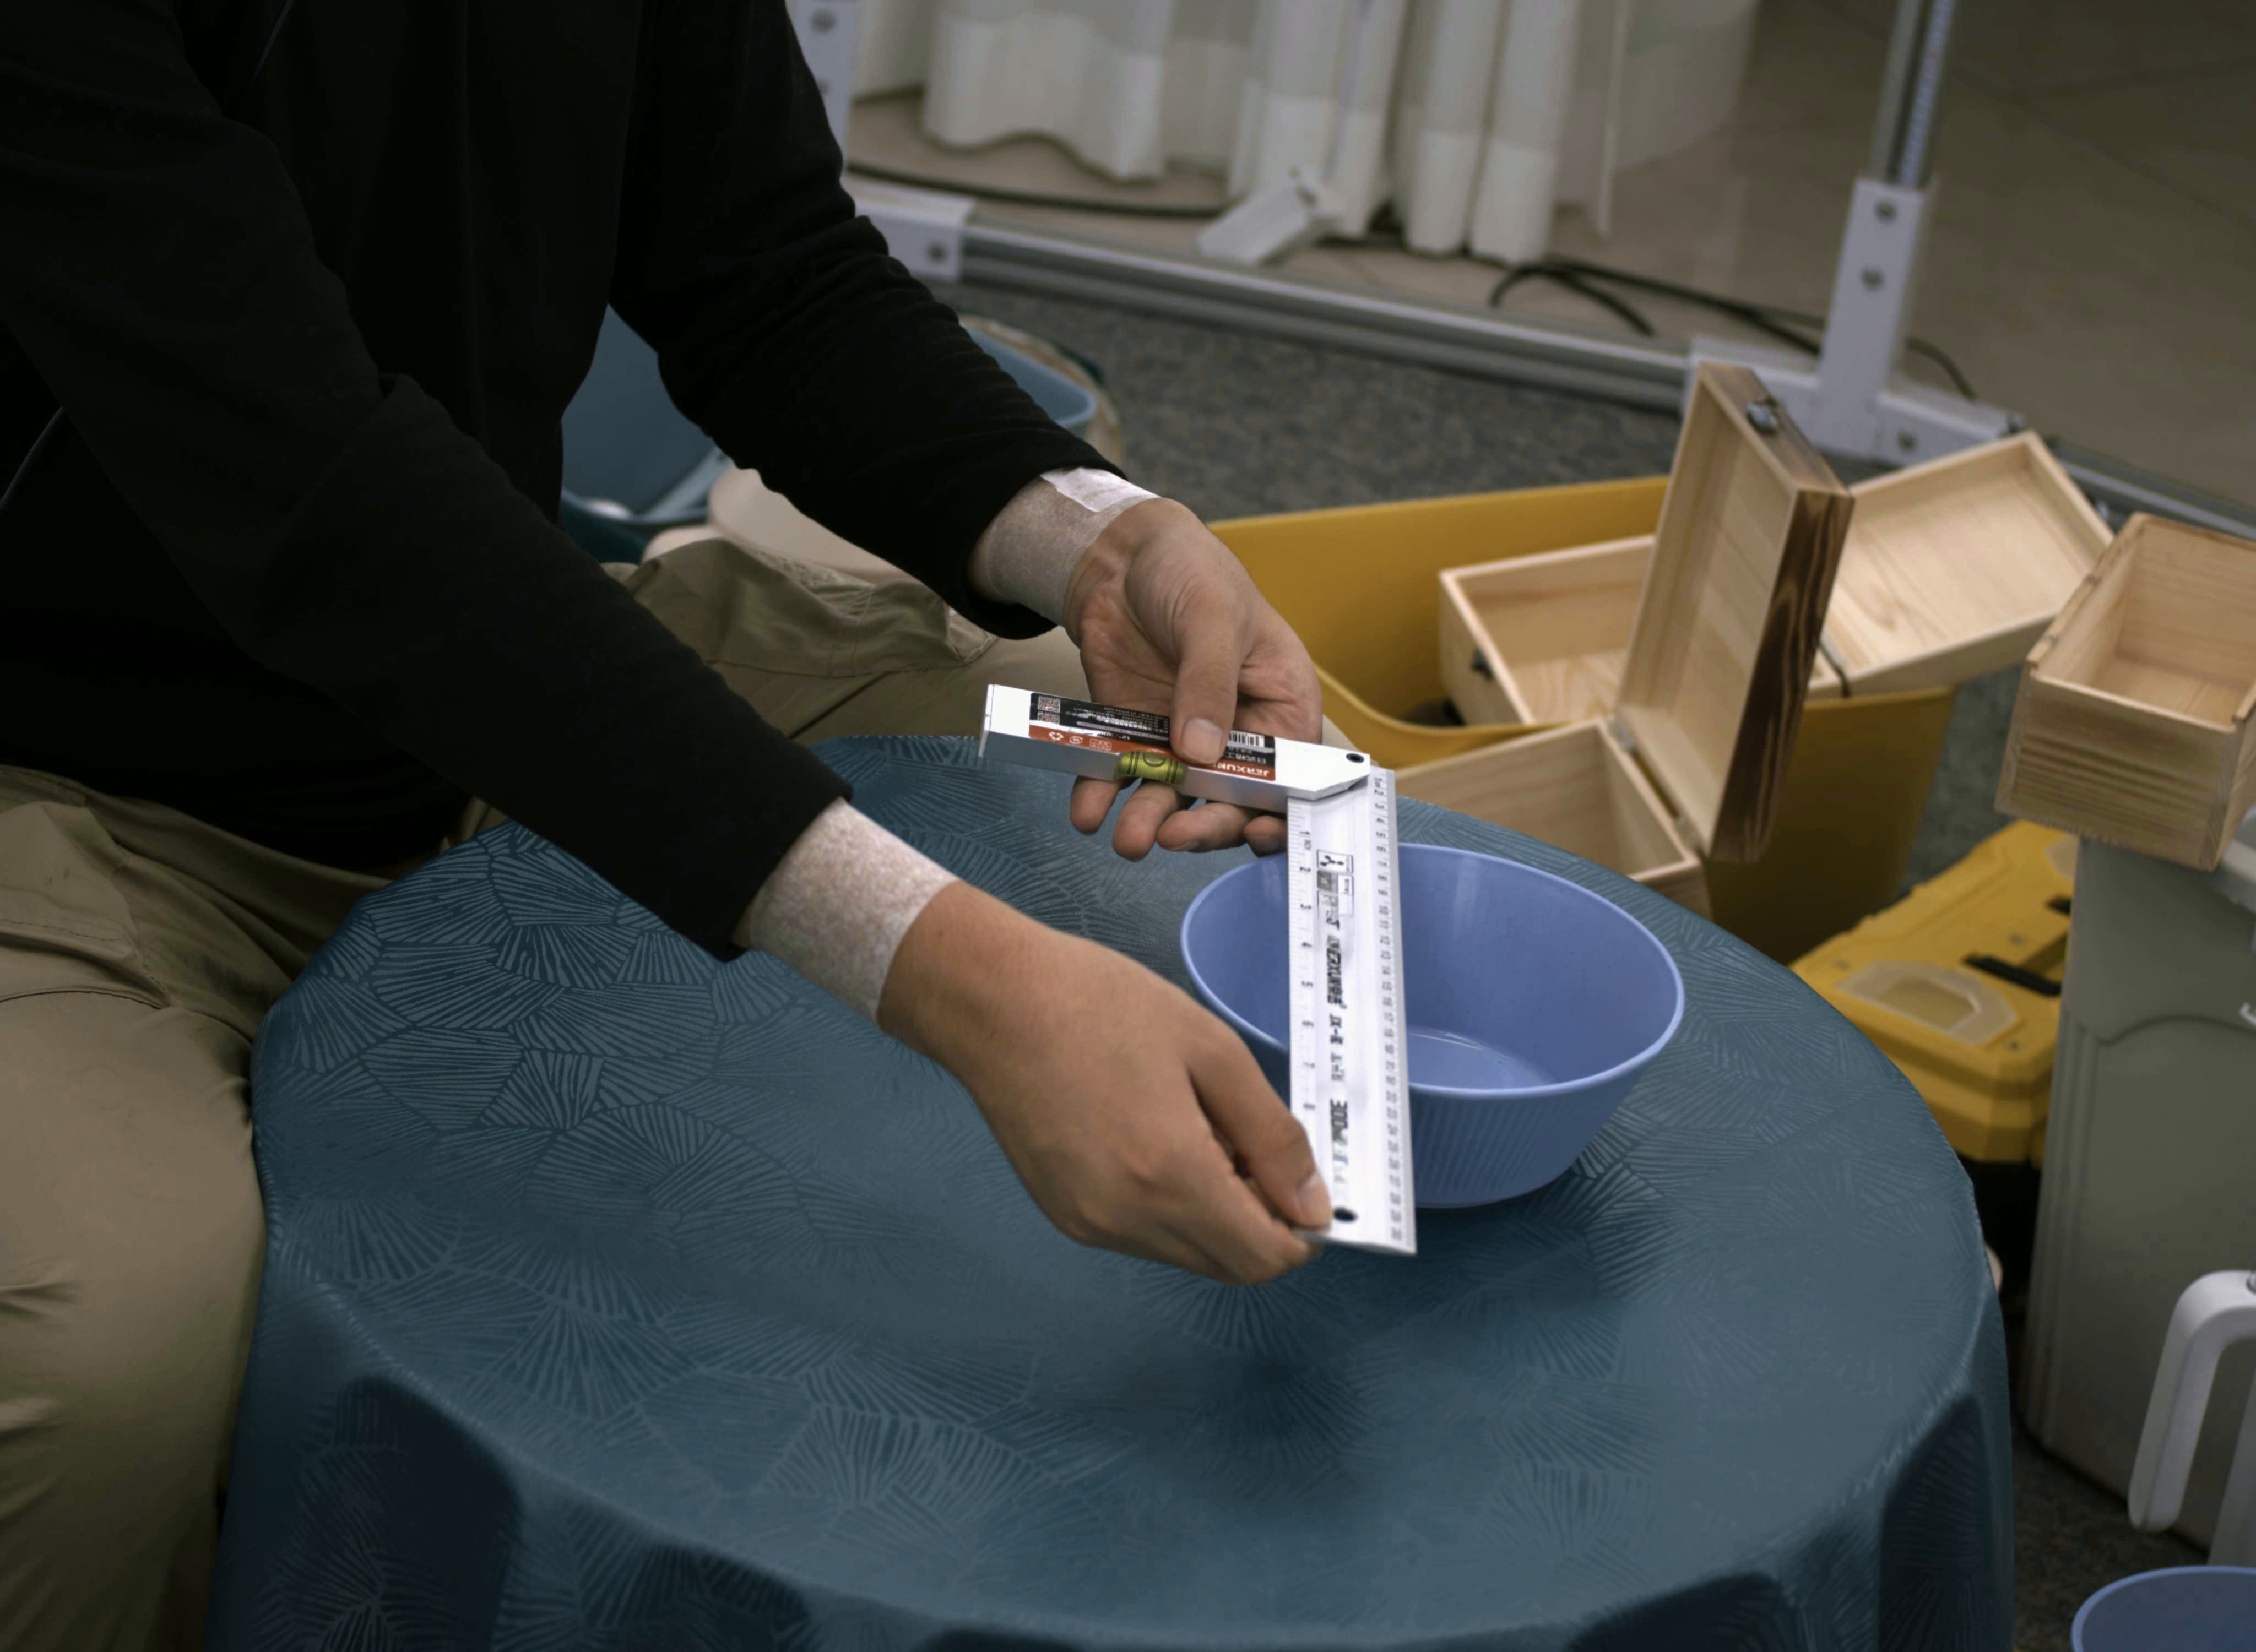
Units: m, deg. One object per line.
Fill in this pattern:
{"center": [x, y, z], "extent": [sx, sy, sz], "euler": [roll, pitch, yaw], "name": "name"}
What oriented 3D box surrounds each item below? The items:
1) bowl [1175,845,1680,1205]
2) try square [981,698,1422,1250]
{"center": [0.100, 0.074, 1.844], "extent": [0.175, 0.070, 0.177], "euler": [5, 27, -3], "name": "bowl"}
{"center": [0.020, 0.044, 1.788], "extent": [0.152, 0.016, 0.315], "euler": [8, 29, -3], "name": "try square"}
